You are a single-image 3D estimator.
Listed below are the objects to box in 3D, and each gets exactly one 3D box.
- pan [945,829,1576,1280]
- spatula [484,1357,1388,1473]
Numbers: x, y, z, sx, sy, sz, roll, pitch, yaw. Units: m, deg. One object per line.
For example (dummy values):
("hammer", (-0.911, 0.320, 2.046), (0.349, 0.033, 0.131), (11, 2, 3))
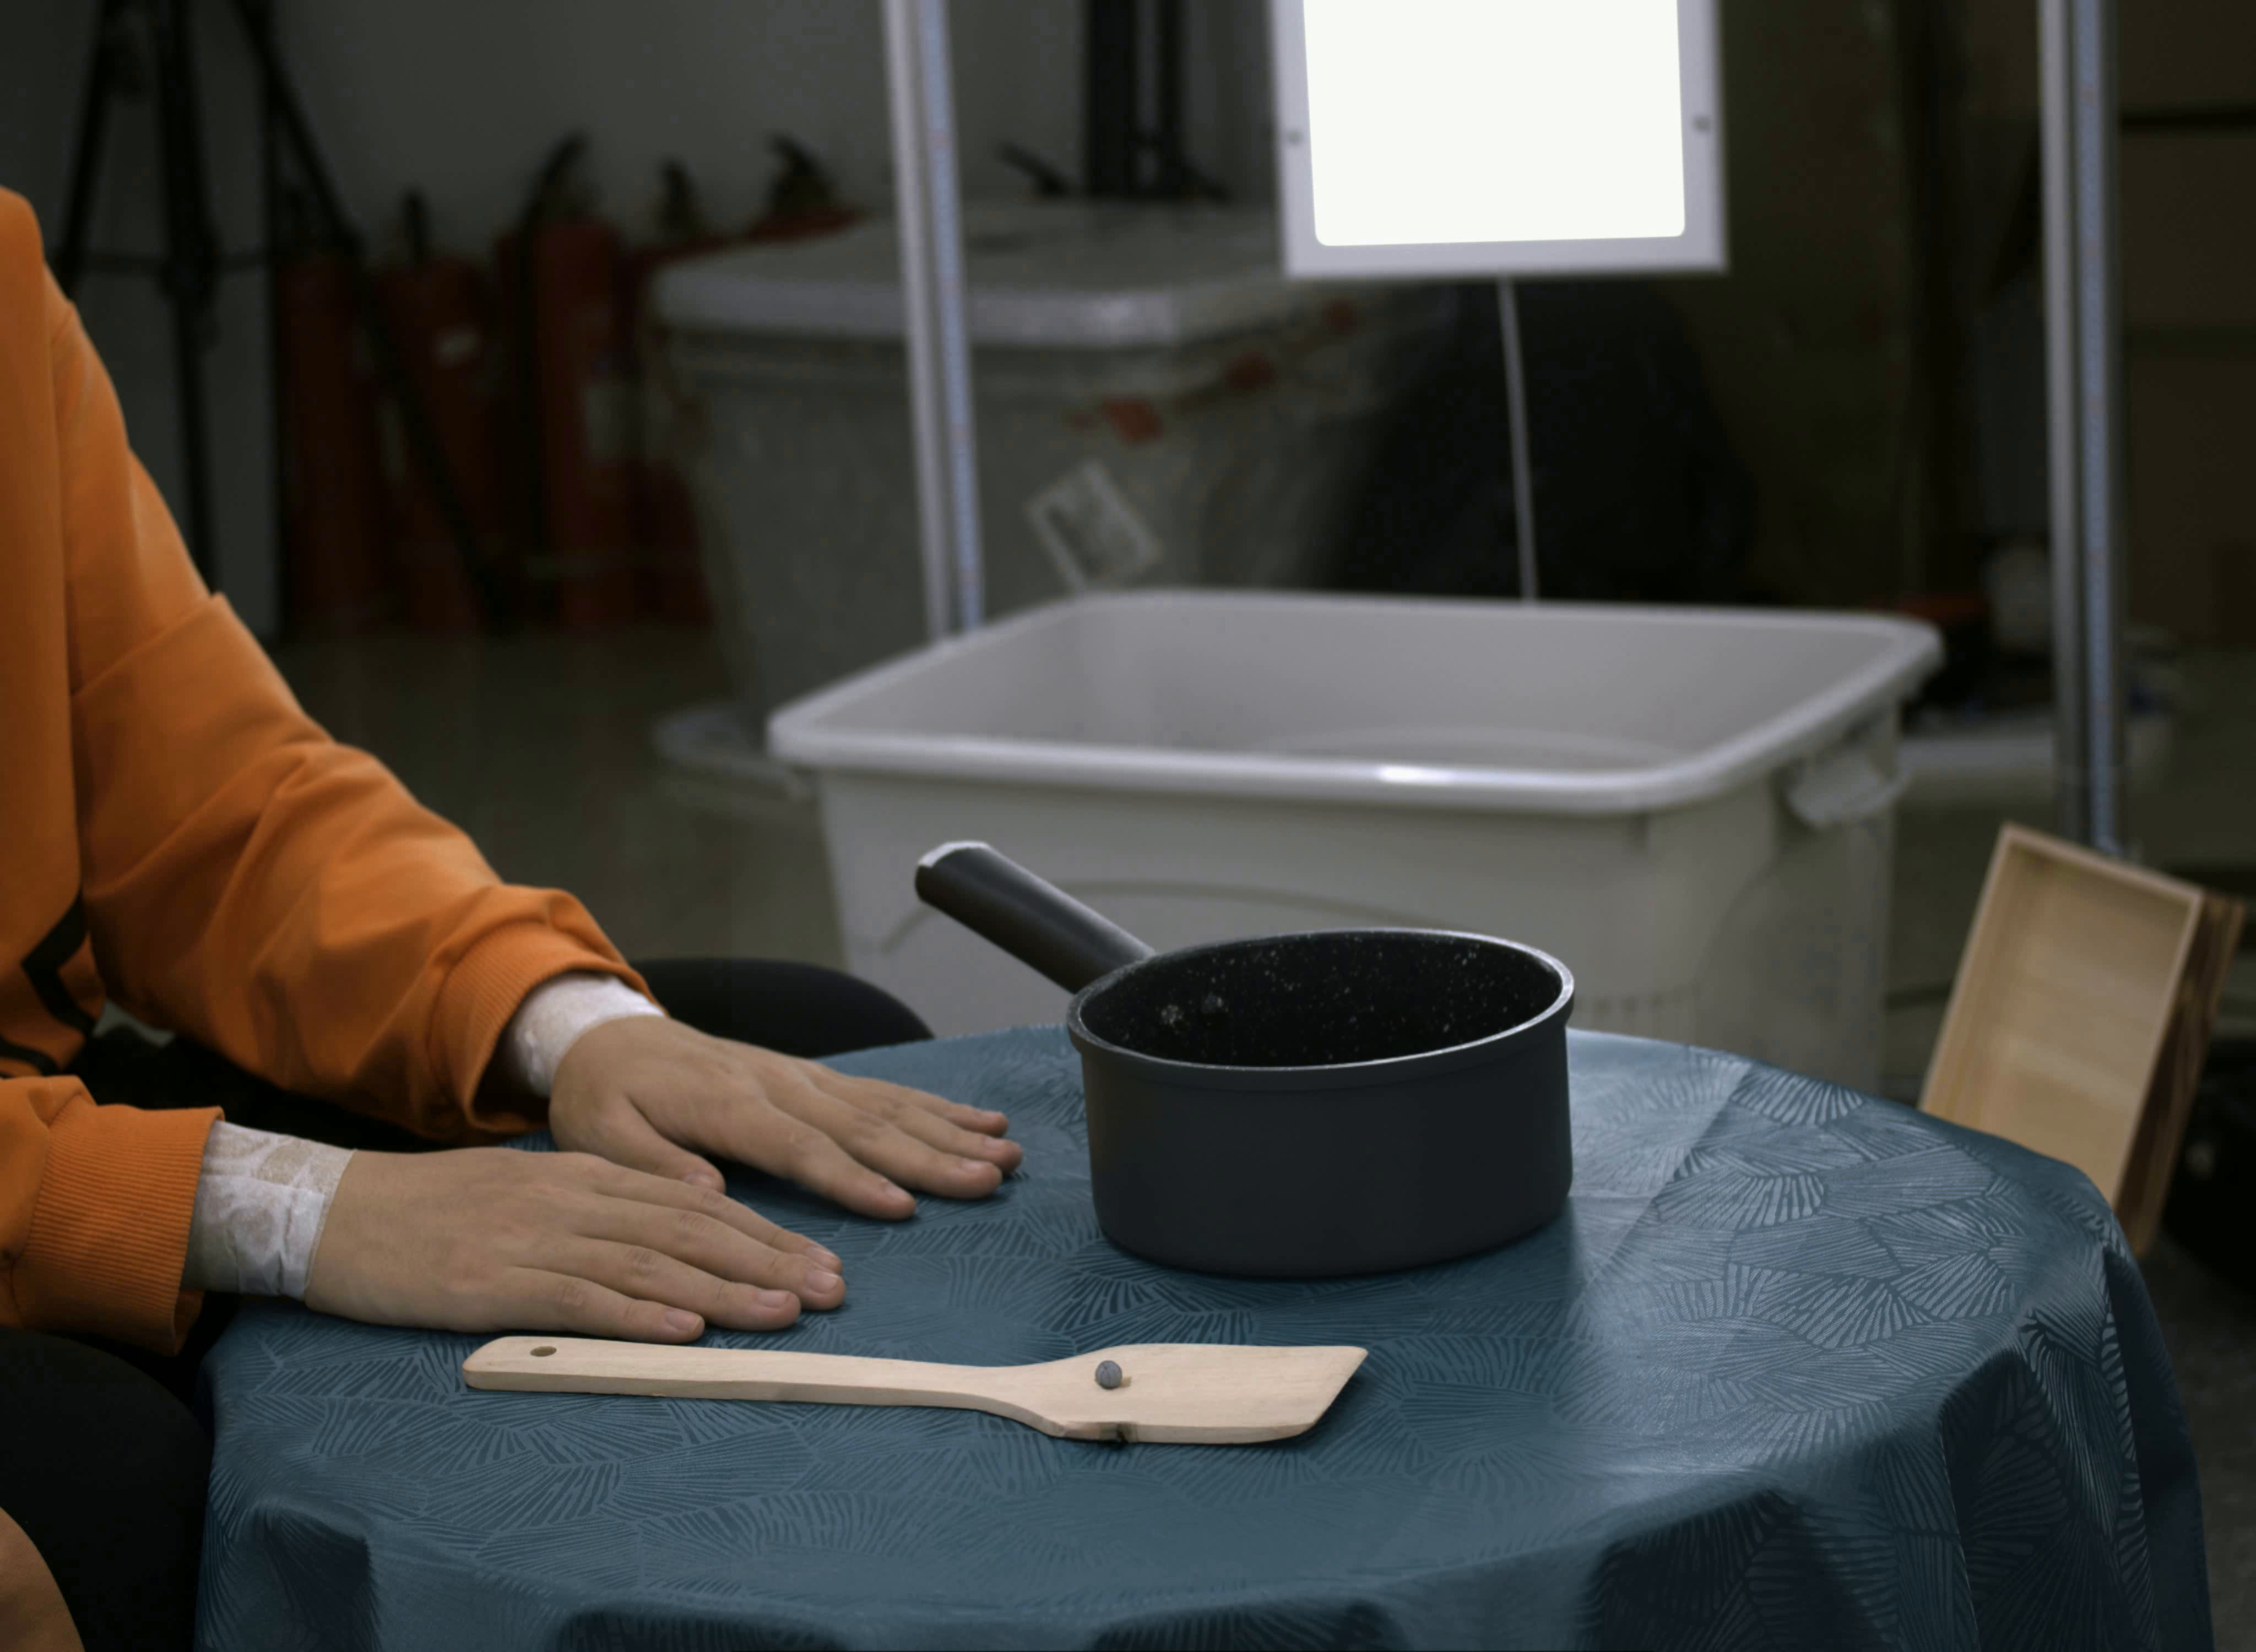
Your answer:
("pan", (0.027, 0.075, 1.919), (0.168, 0.087, 0.334), (-11, 17, -27))
("spatula", (-0.066, 0.180, 1.720), (0.297, 0.011, 0.071), (0, 17, 20))
